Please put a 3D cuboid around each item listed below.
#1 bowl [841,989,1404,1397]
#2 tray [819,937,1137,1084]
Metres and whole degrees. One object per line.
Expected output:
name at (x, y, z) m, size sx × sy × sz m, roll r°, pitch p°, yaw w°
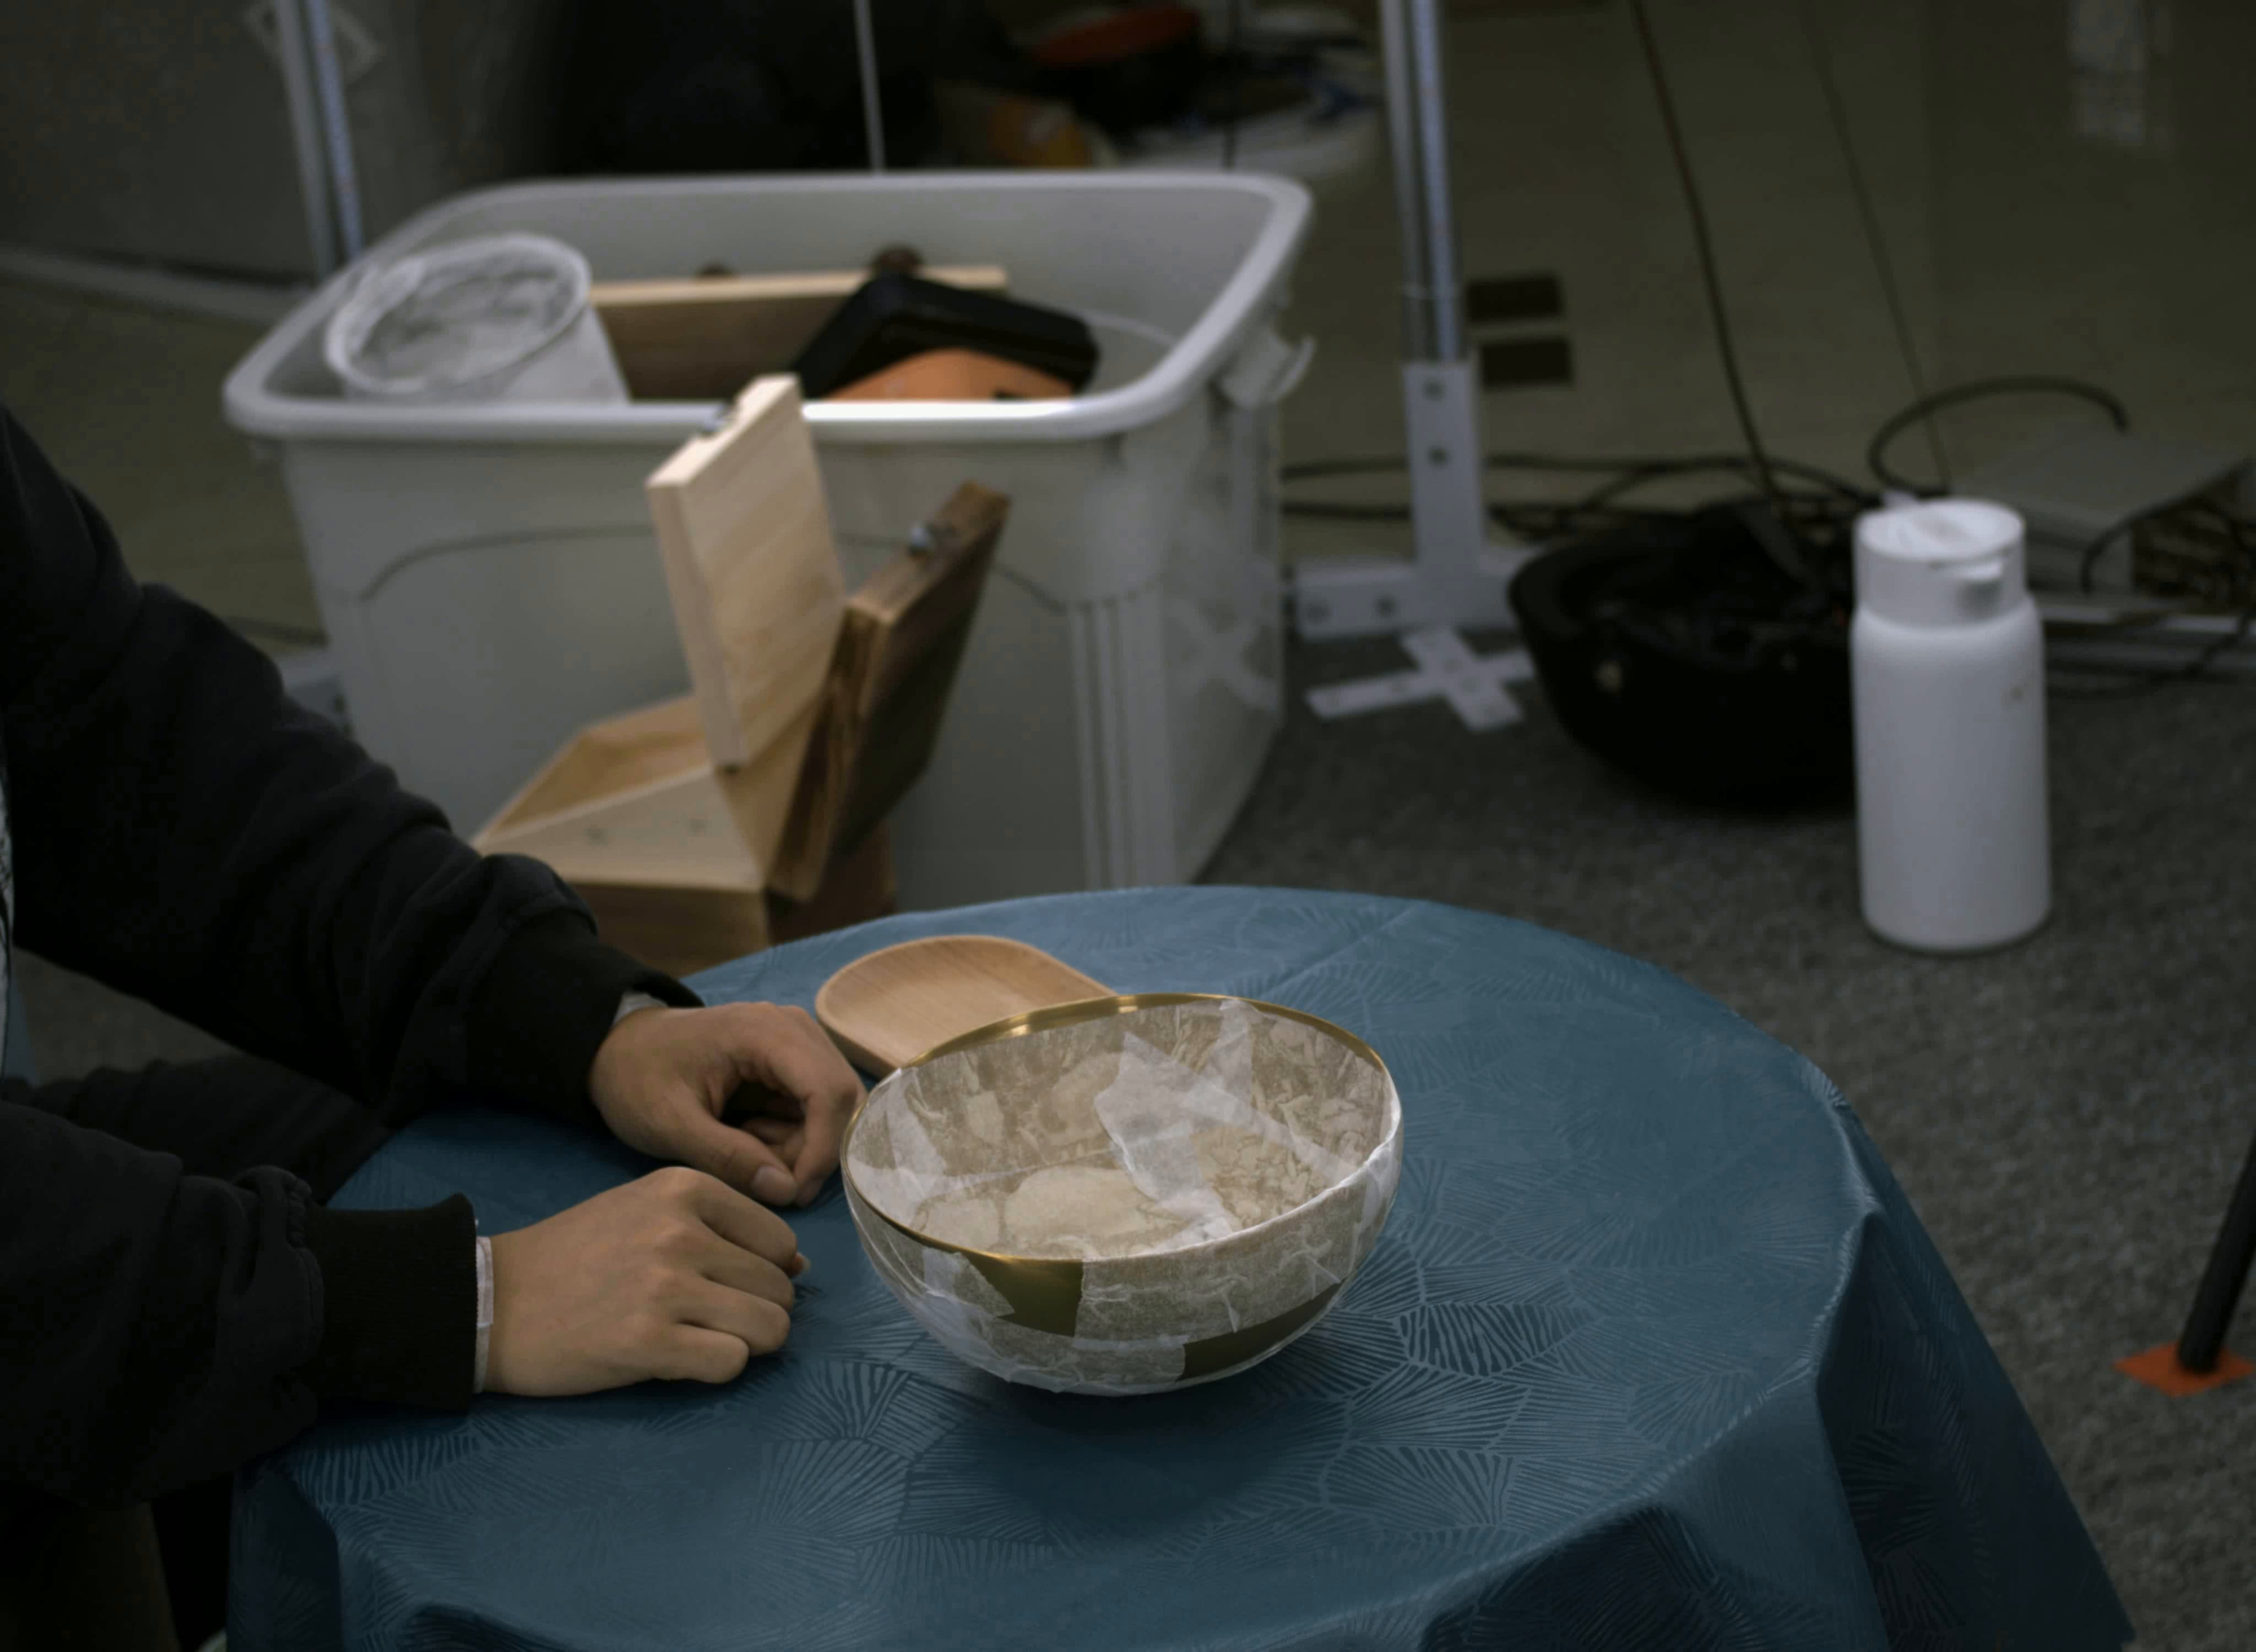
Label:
bowl at (0.000, 0.142, 2.034) m, size 0.214 × 0.096 × 0.211 m, roll -6°, pitch 26°, yaw 3°
tray at (-0.036, 0.093, 2.243) m, size 0.101 × 0.020 × 0.229 m, roll -24°, pitch 32°, yaw -29°
